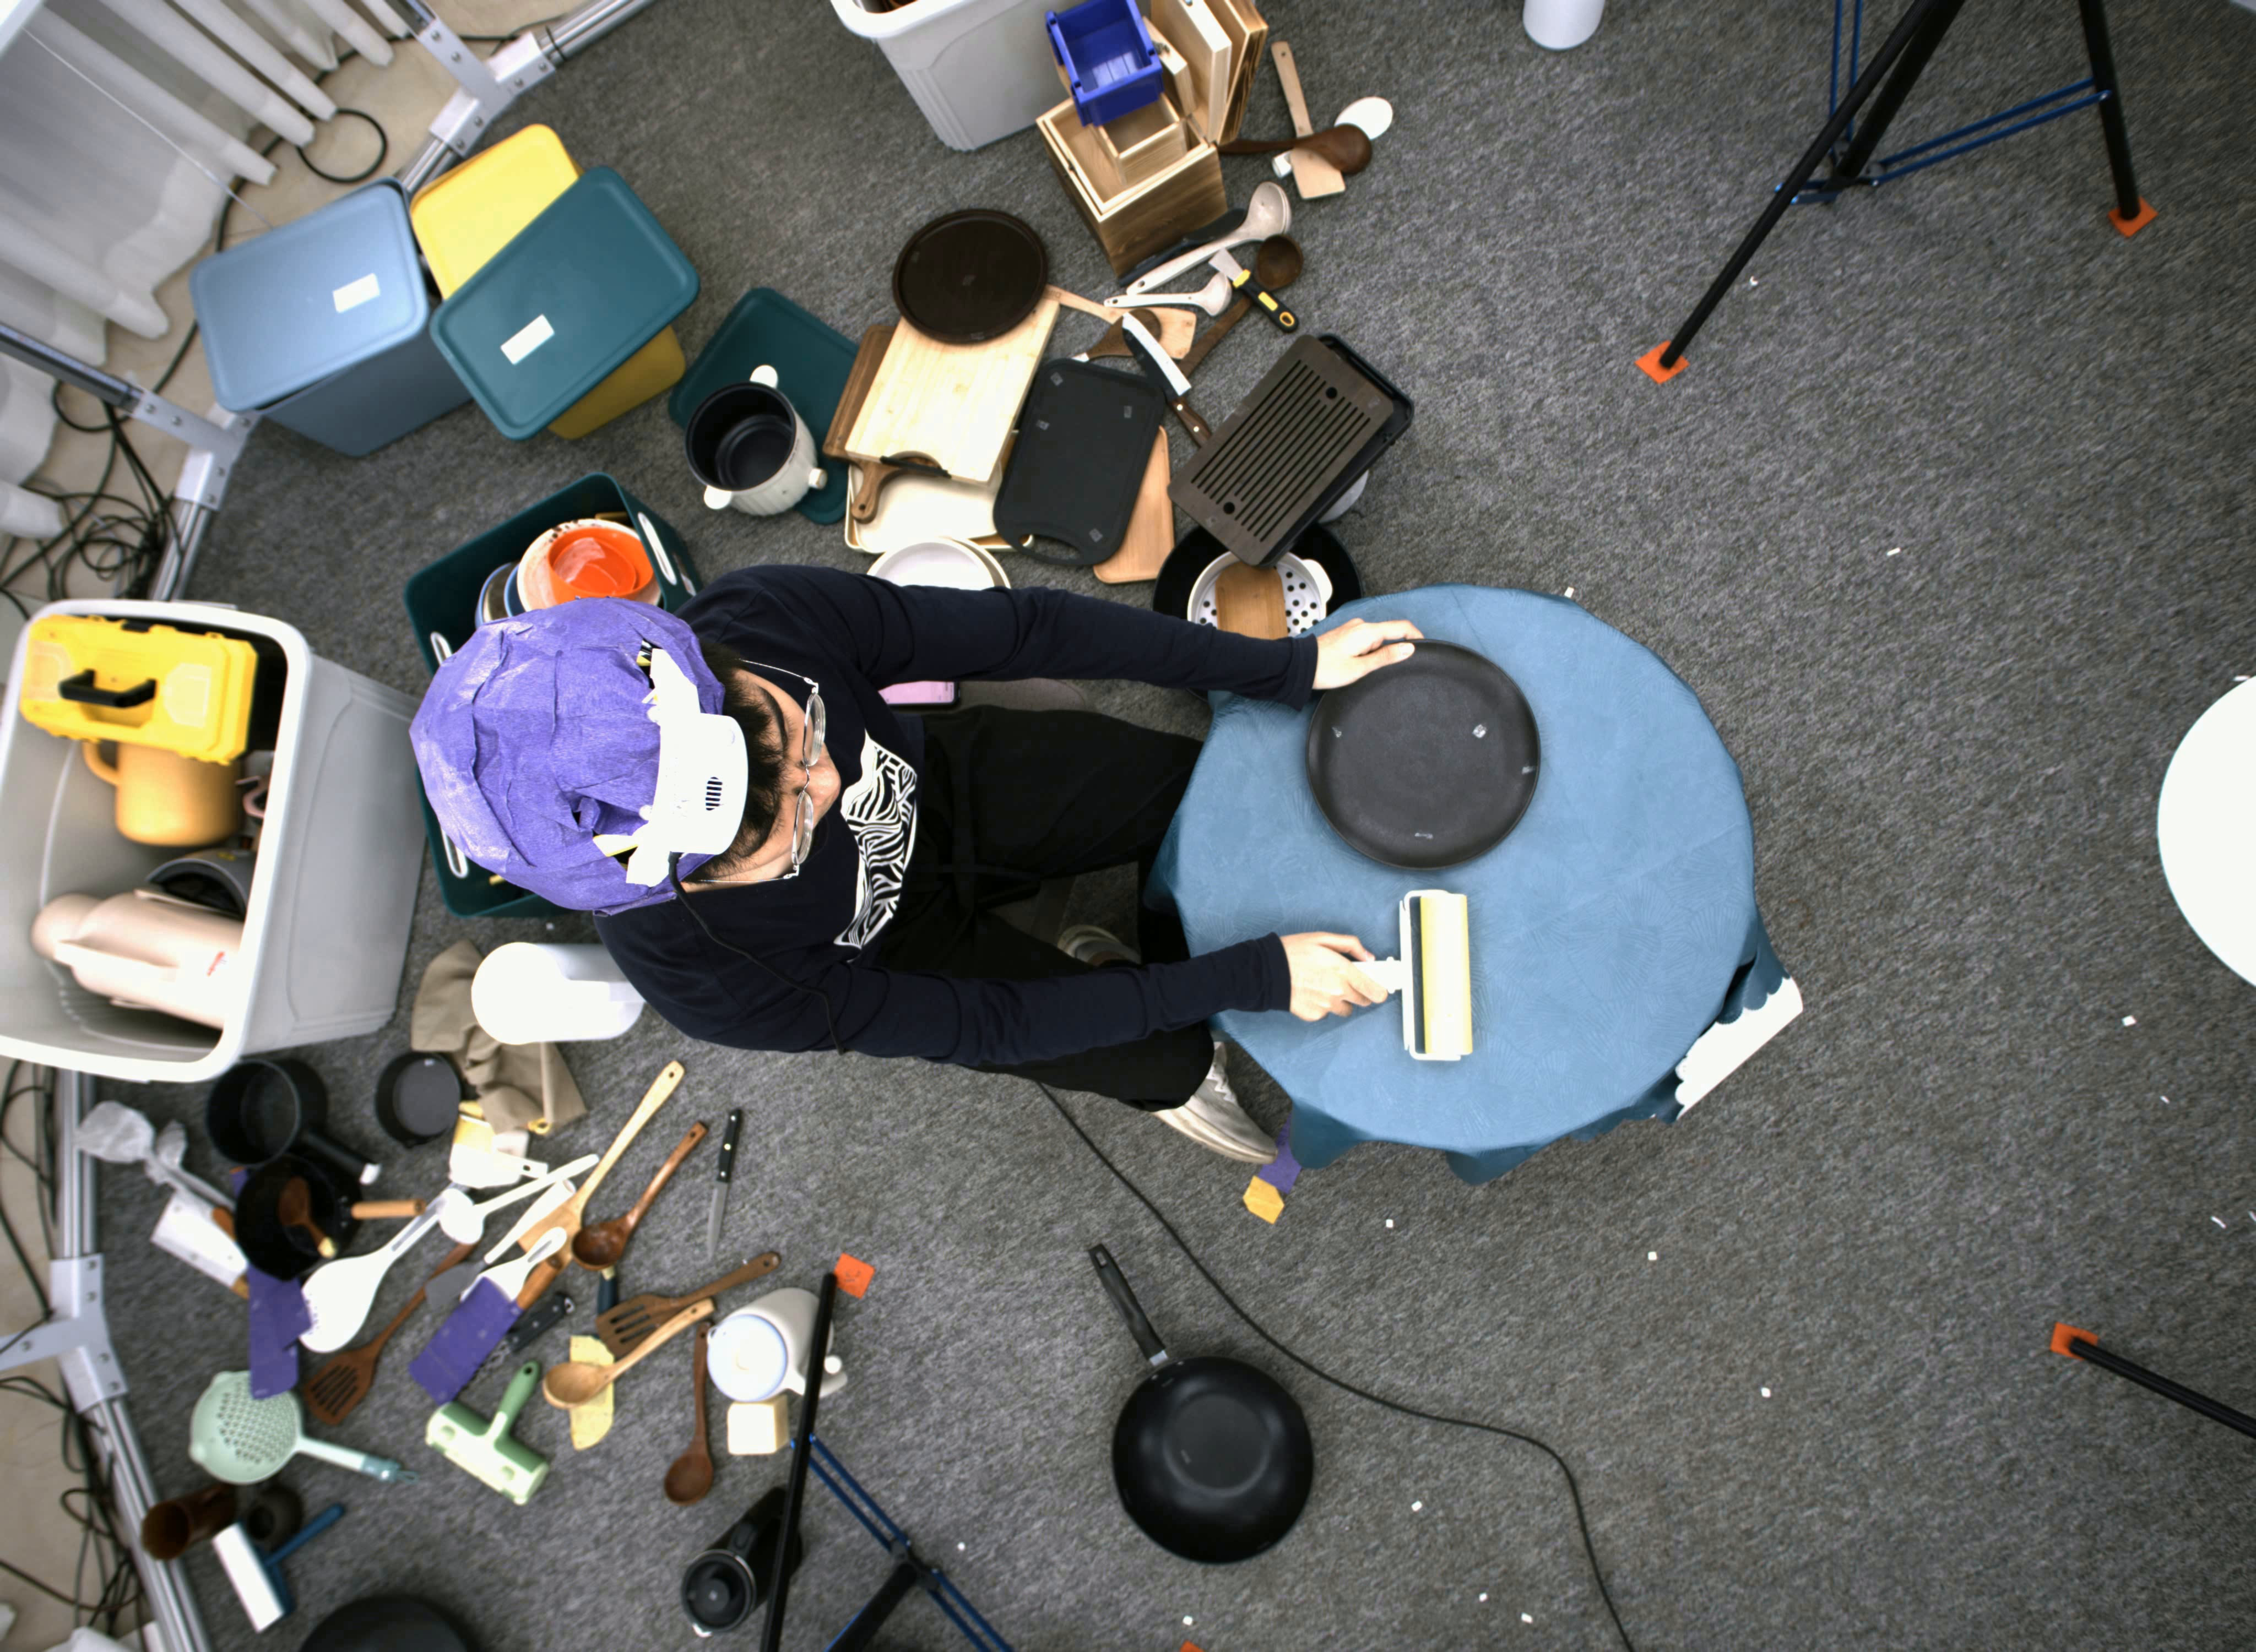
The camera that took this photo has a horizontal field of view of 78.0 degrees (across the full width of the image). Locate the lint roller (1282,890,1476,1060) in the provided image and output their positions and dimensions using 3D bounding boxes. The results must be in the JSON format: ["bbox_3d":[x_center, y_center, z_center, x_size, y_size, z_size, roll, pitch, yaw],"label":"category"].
[{"bbox_3d":[0.257,0.155,1.423,0.192,0.051,0.173,-3,85,0],"label":"lint roller"}]

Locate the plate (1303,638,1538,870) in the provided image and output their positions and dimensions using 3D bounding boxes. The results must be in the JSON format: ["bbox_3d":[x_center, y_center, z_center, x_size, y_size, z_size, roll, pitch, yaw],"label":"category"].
[{"bbox_3d":[0.306,-0.077,1.443,0.245,0.023,0.244,0,91,8],"label":"plate"}]
